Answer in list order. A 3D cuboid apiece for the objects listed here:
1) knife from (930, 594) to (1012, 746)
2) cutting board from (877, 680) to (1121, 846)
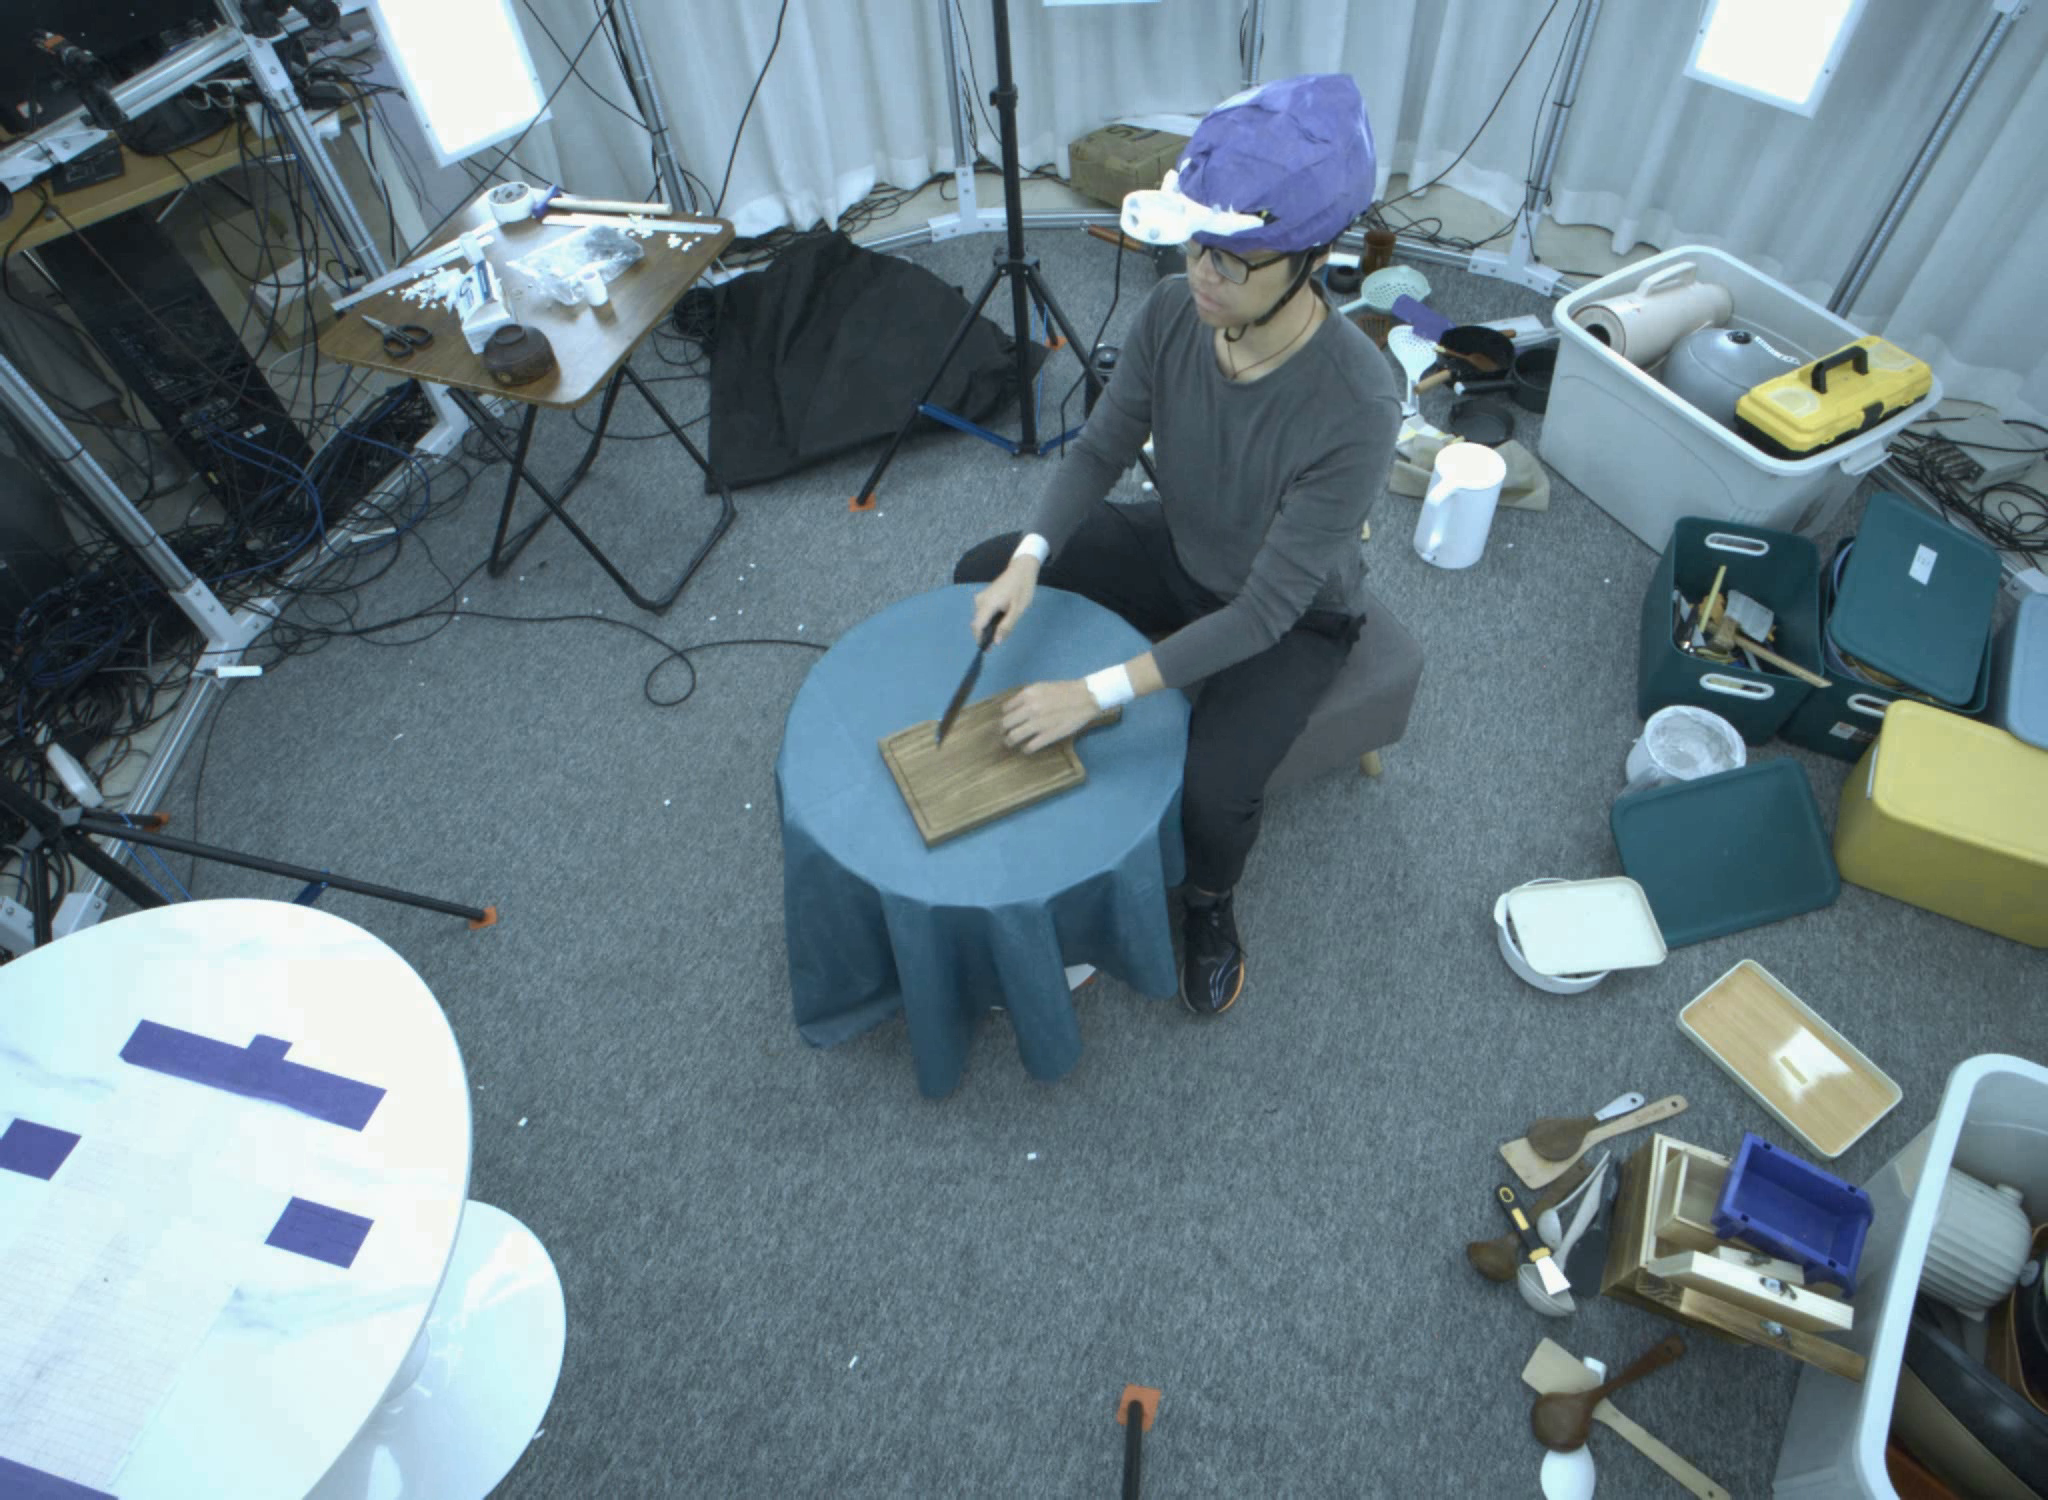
[{"bbox_3d":[-0.075,-0.122,1.746,0.021,0.081,0.302,20,50,6],"label":"knife"},{"bbox_3d":[-0.017,-0.004,1.785,0.355,0.023,0.197,-22,57,-14],"label":"cutting board"}]
